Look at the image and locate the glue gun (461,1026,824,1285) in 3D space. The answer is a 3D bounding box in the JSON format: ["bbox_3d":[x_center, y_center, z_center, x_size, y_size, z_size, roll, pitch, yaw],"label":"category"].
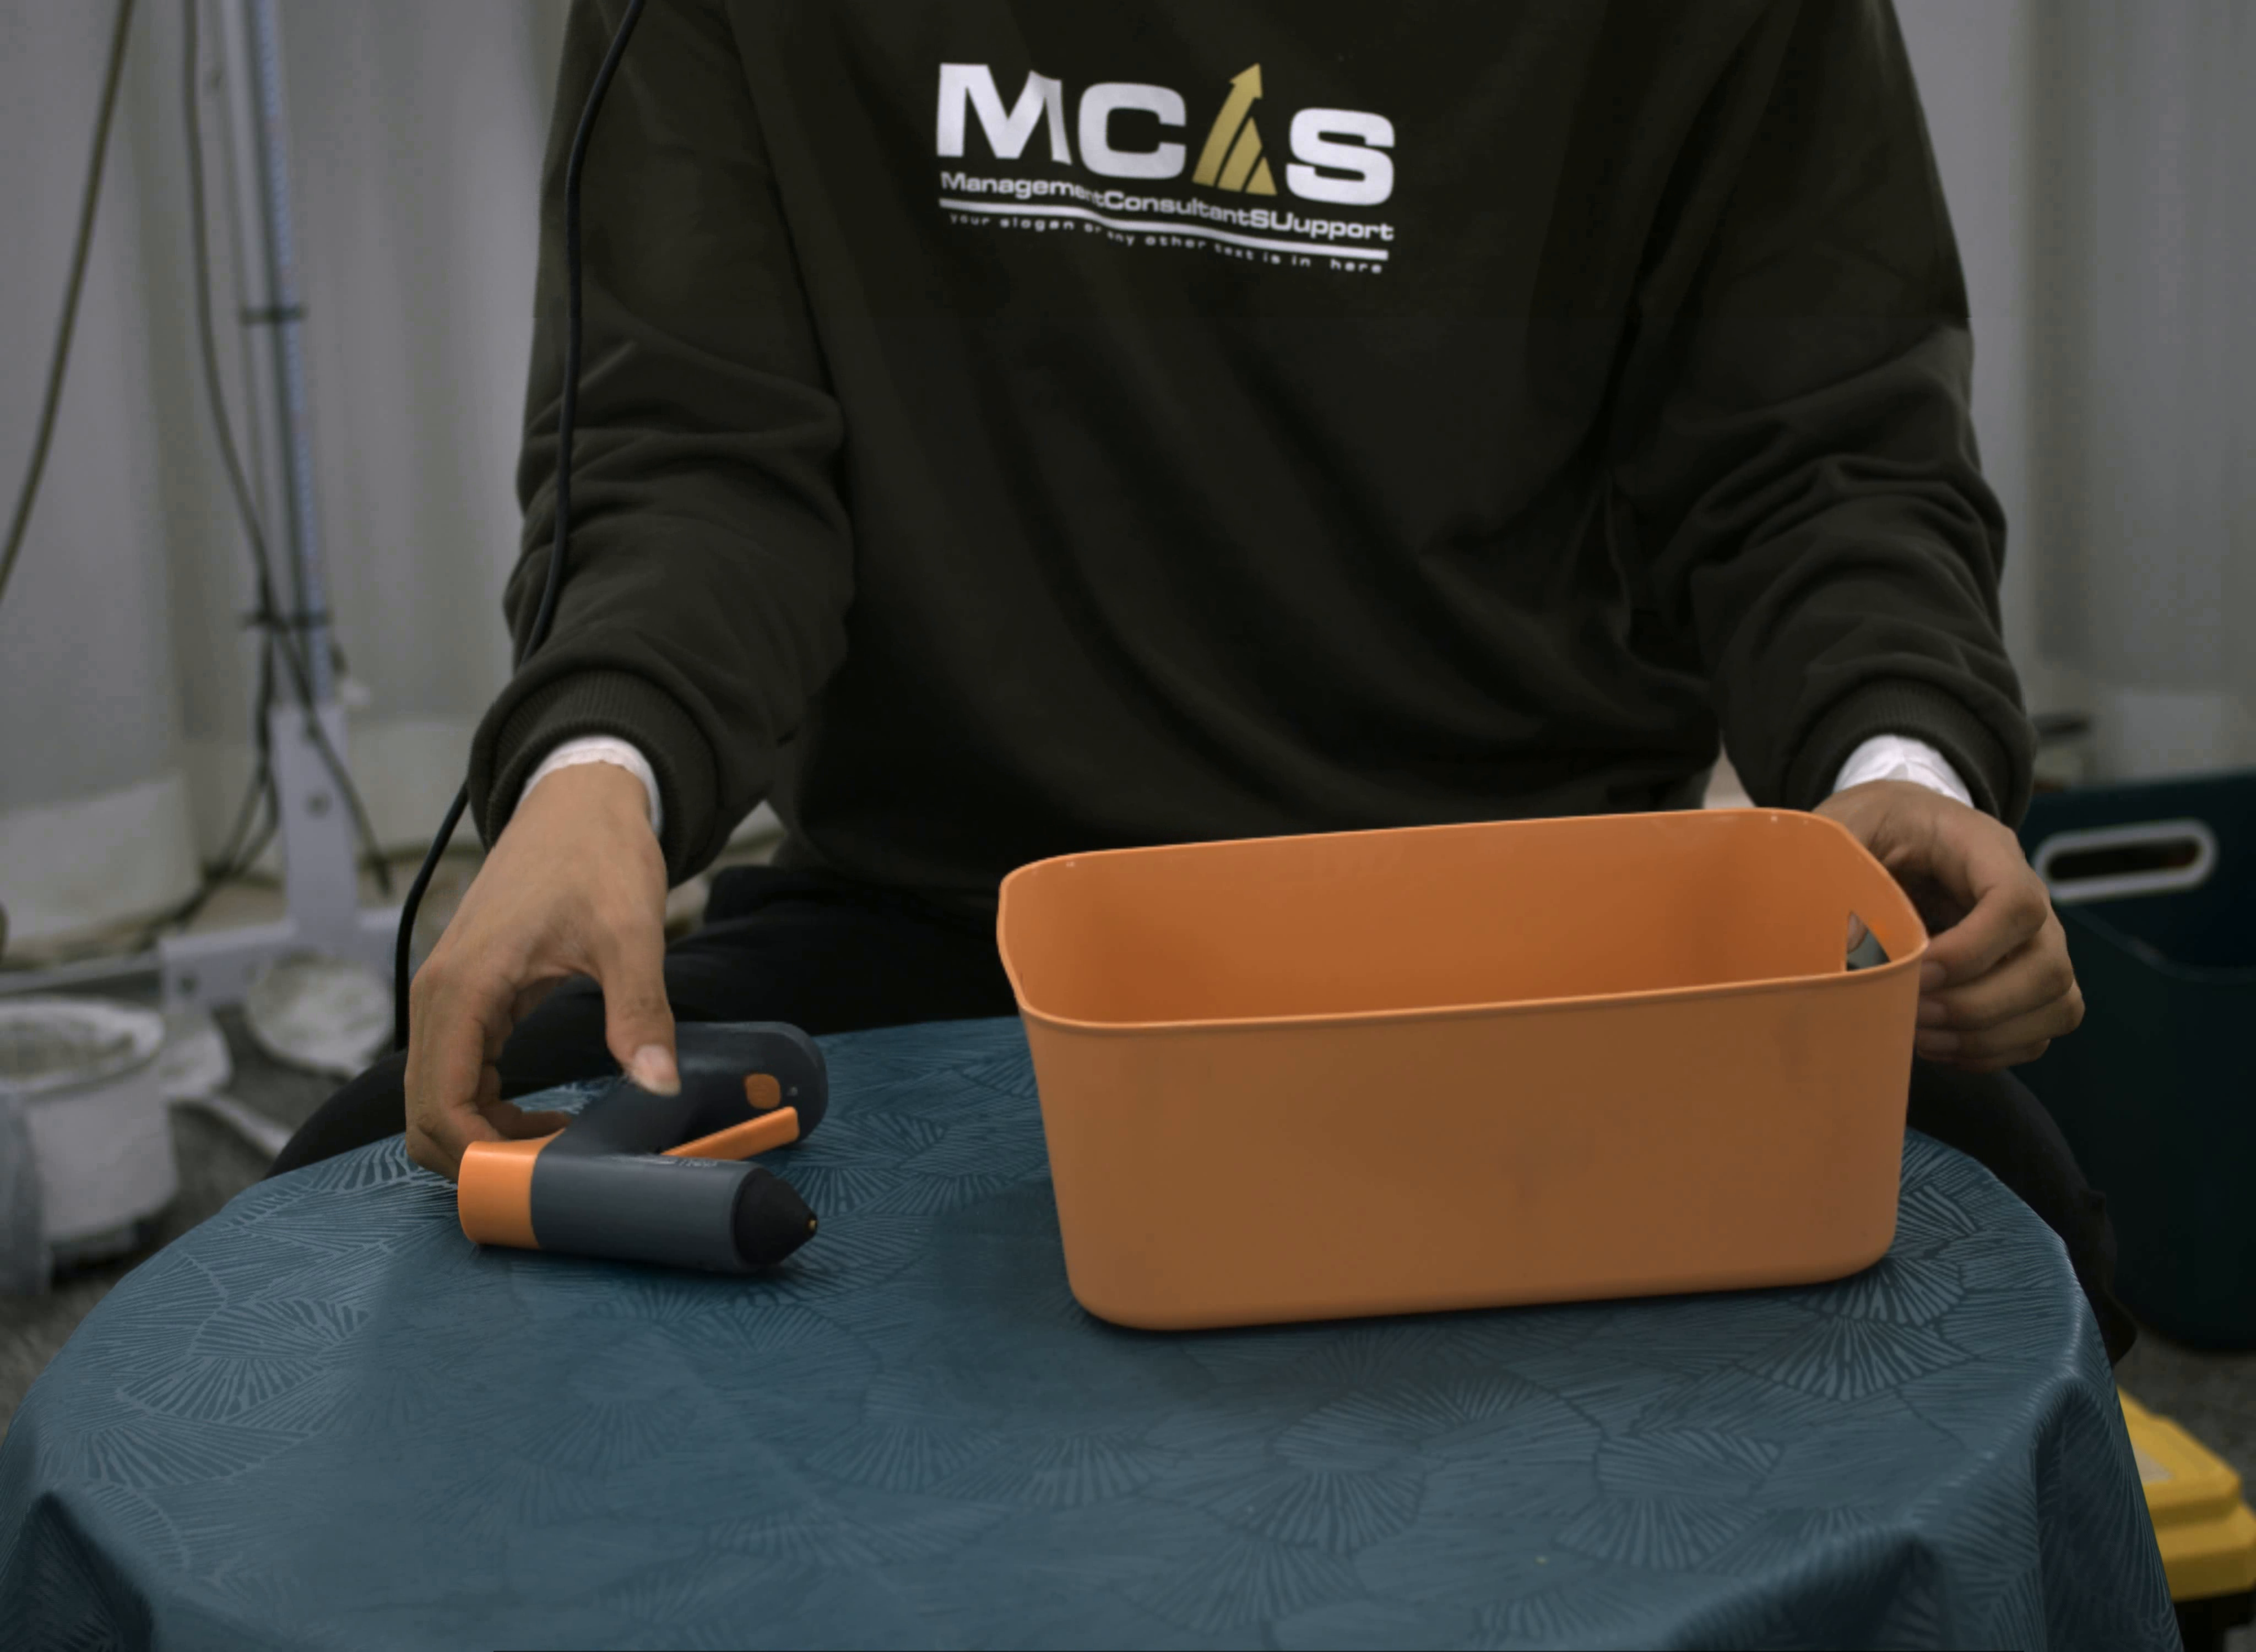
[{"bbox_3d":[-0.140,0.106,1.716,0.118,0.041,0.140,2,17,10],"label":"glue gun"}]

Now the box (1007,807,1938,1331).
[{"bbox_3d":[0.101,0.072,1.658,0.272,0.102,0.201,-4,14,-3],"label":"box"}]
